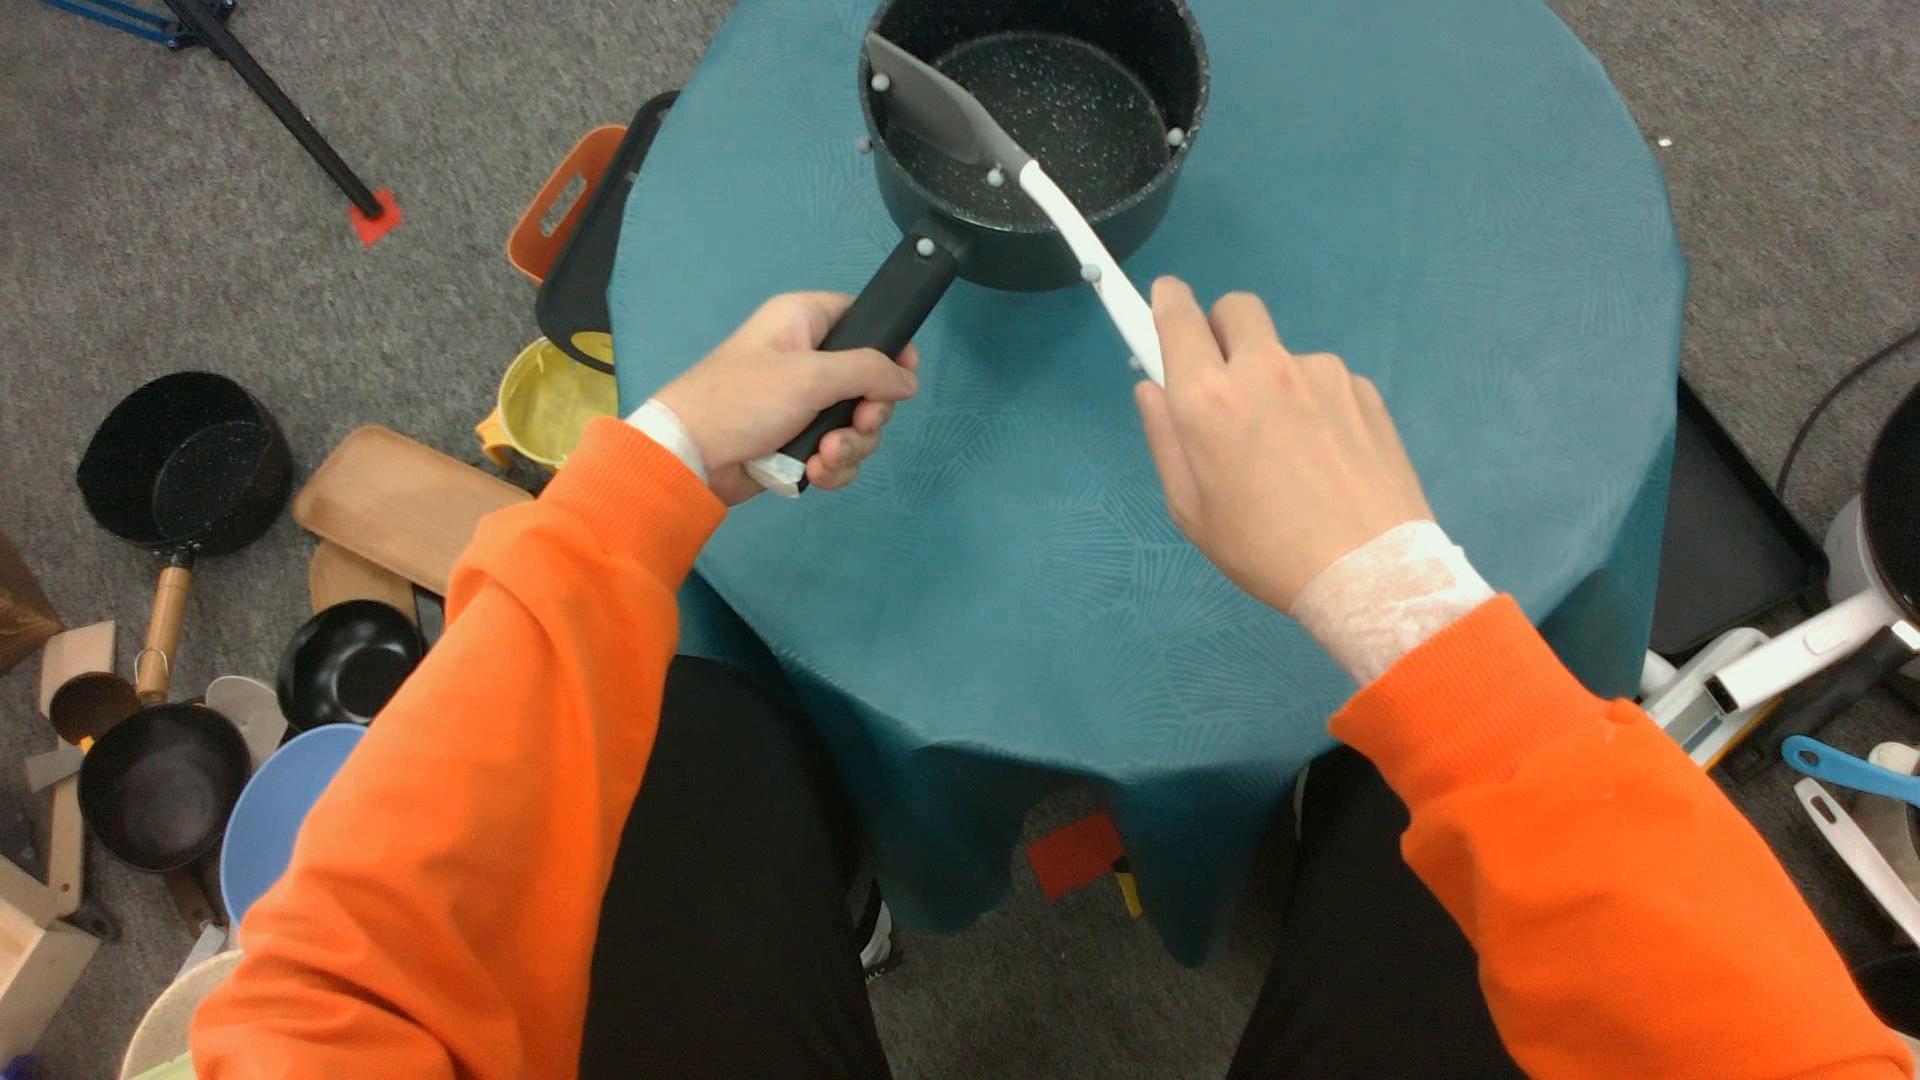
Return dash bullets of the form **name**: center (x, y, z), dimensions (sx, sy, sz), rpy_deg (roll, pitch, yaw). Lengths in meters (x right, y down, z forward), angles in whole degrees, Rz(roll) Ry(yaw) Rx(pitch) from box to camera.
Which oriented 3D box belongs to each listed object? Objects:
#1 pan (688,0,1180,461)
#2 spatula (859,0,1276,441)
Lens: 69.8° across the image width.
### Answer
- **pan**: center (-0.020, -0.162, 0.681), dimensions (0.172, 0.086, 0.329), rpy_deg (31, 73, 8)
- **spatula**: center (0.037, -0.151, 0.606), dimensions (0.032, 0.058, 0.288), rpy_deg (-32, 62, -8)
